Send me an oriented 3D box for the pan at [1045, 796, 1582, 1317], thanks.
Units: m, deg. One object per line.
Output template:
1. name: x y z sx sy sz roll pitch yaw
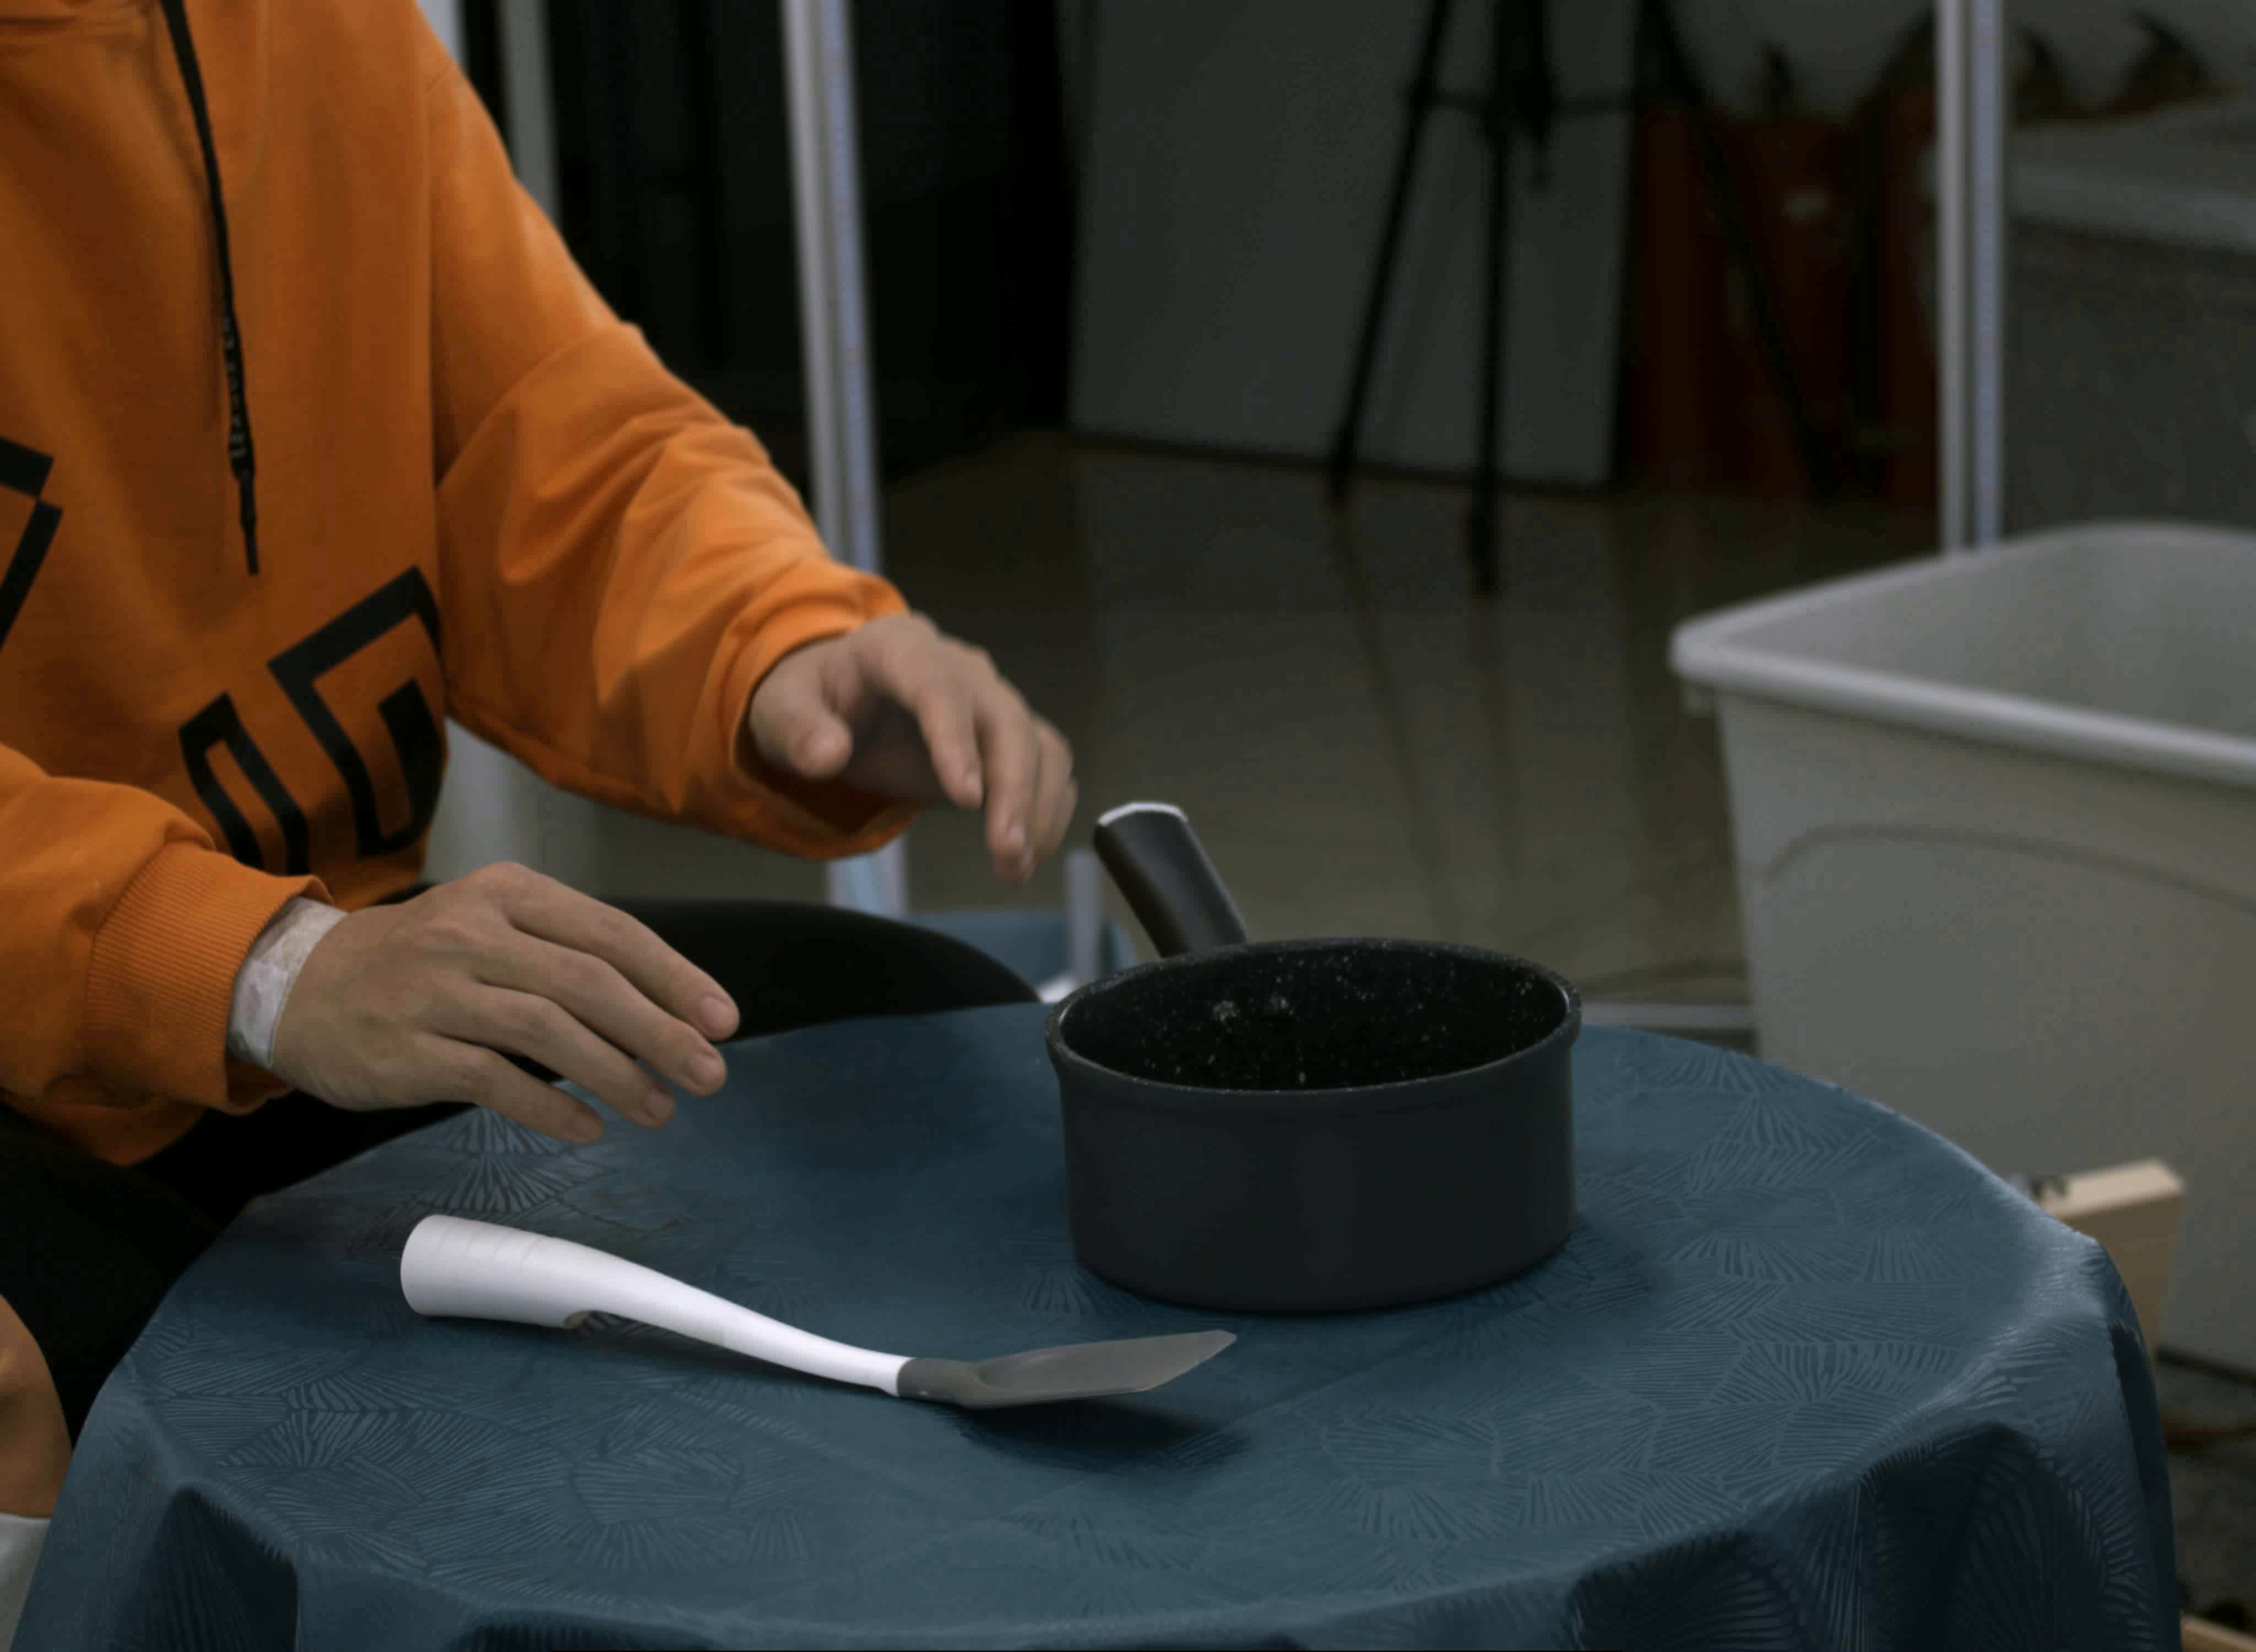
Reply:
1. pan: 0.045 0.072 1.779 0.169 0.087 0.331 -5 15 -9

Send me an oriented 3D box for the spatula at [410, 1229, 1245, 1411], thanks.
1. spatula: -0.094 0.151 1.612 0.289 0.032 0.057 4 12 33
